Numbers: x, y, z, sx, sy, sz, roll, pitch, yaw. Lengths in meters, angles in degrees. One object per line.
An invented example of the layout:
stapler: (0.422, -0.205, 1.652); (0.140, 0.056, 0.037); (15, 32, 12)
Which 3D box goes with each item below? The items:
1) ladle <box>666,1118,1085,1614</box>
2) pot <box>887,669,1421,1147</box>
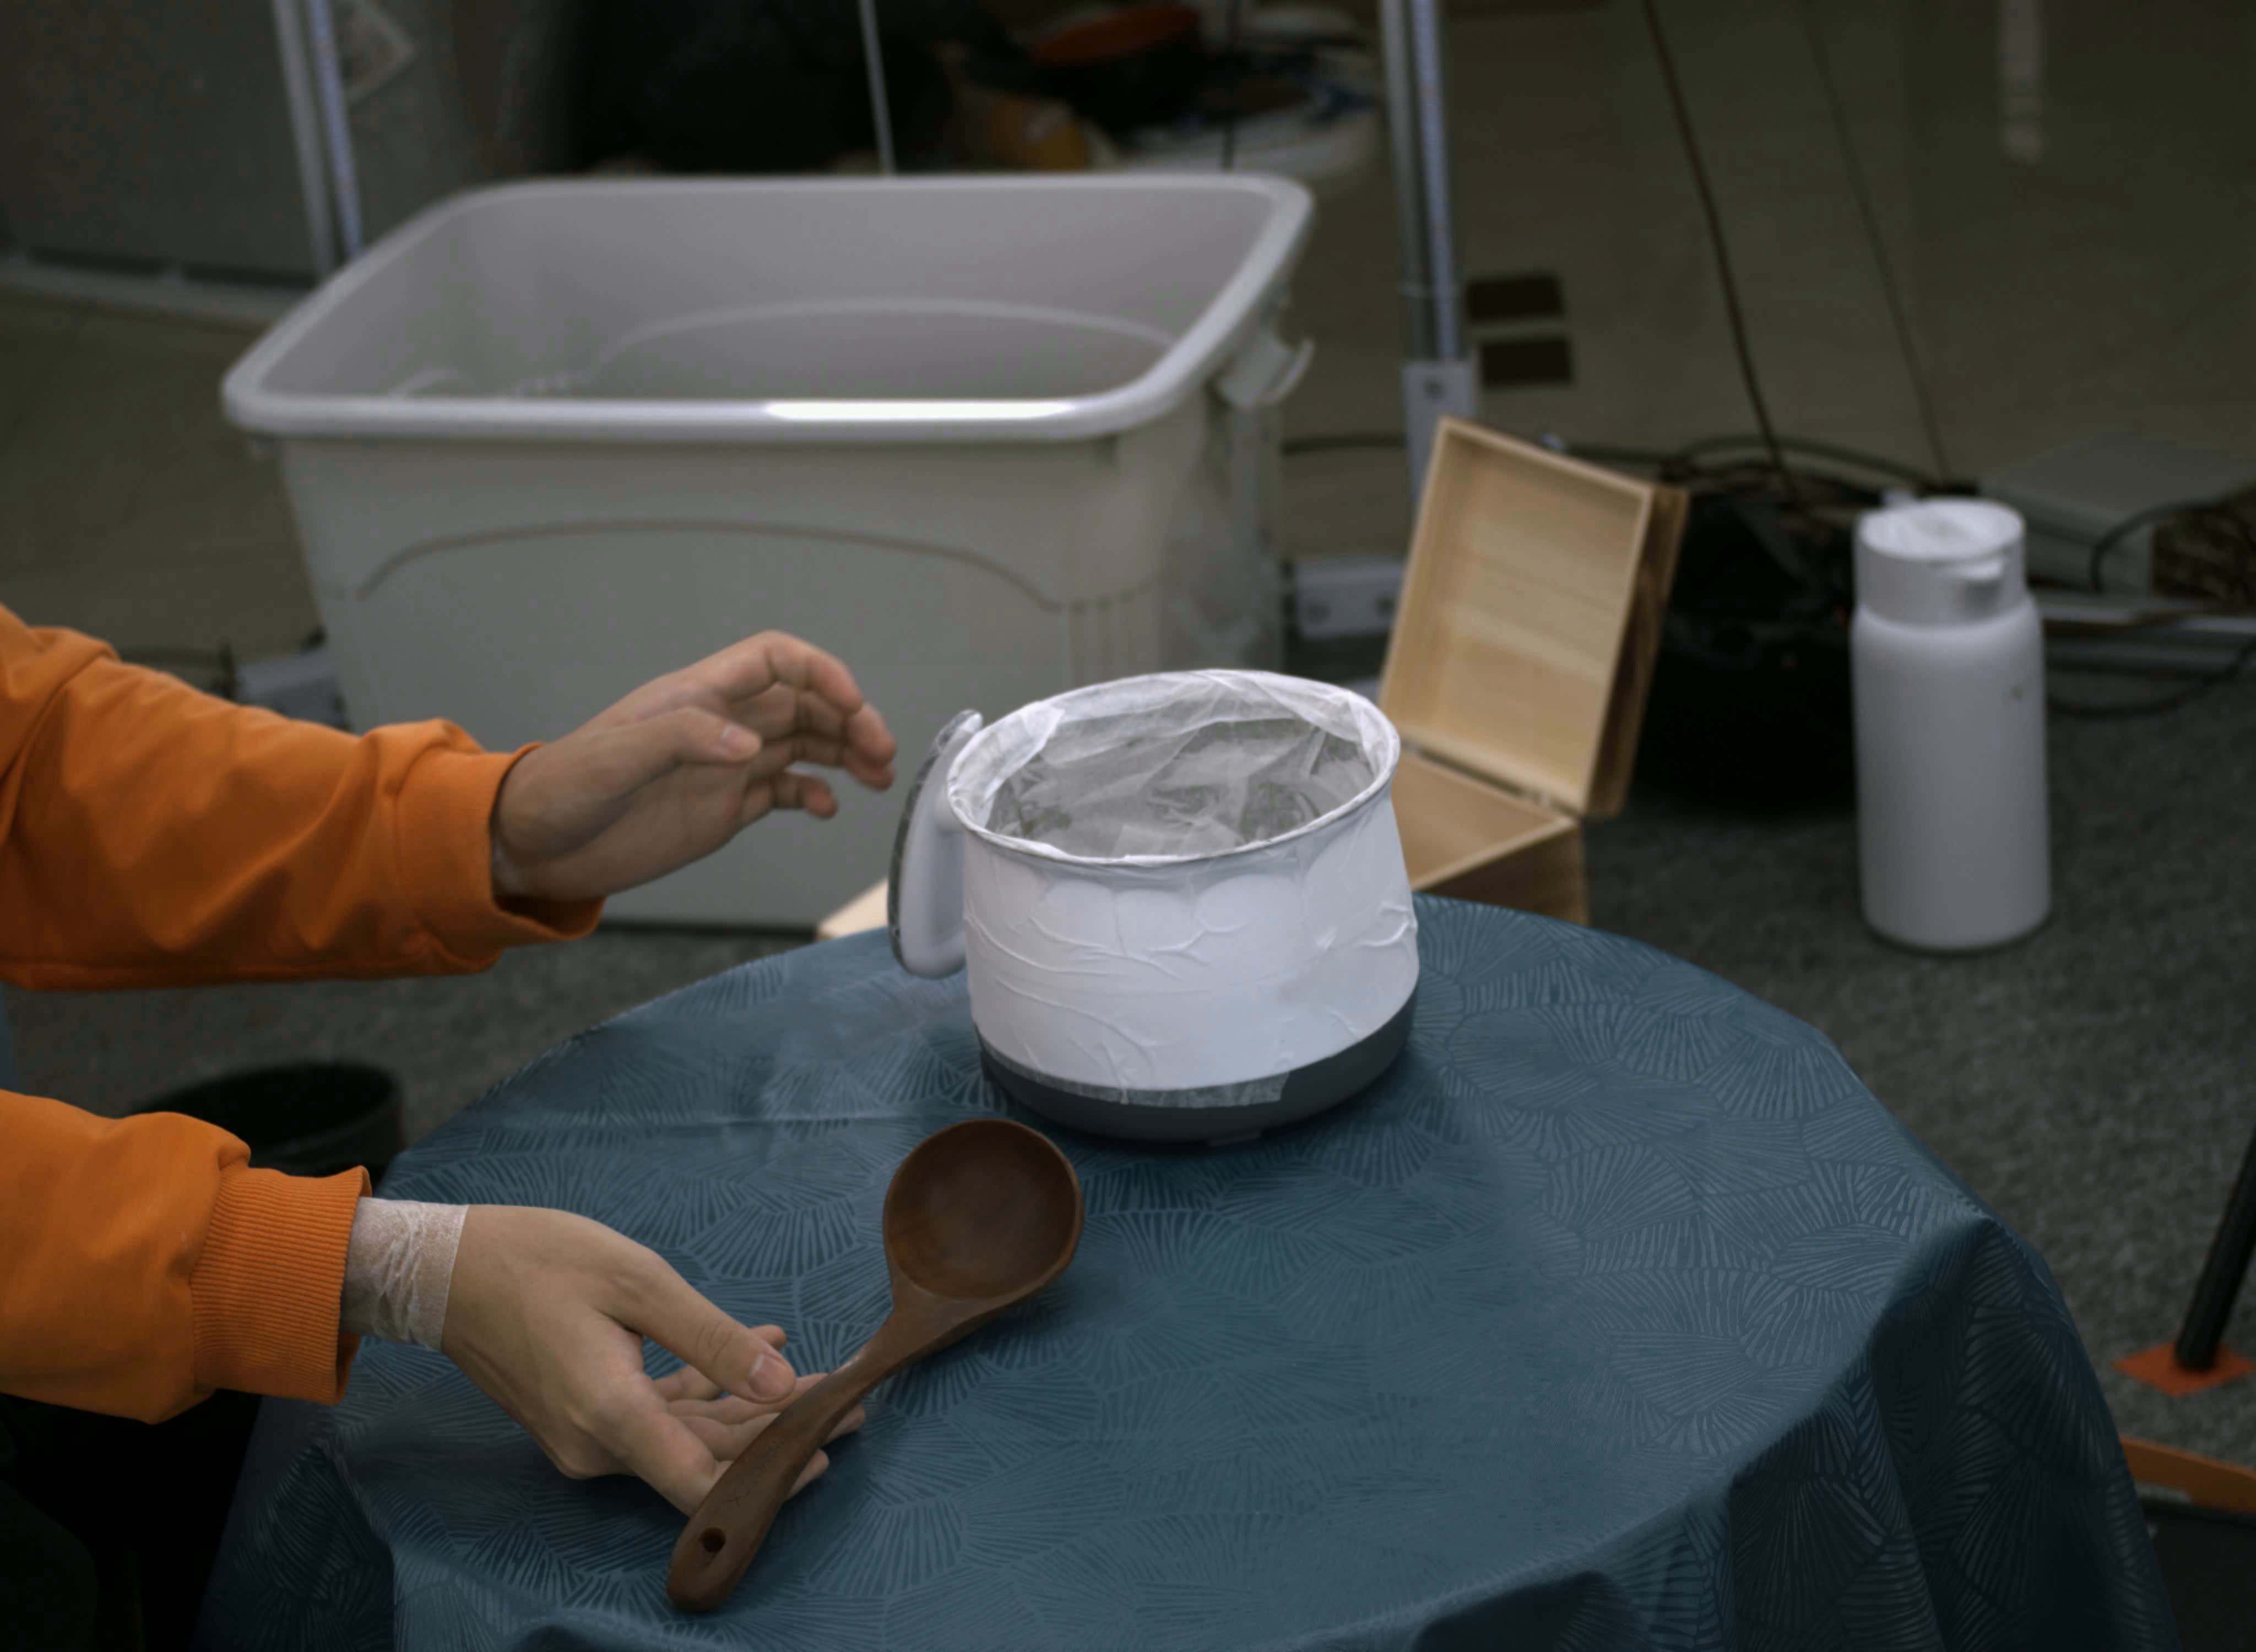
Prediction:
ladle: (-0.094, 0.185, 1.995); (0.076, 0.066, 0.257); (13, 30, 23)
pot: (0.001, 0.029, 2.219); (0.232, 0.139, 0.177); (11, 30, 33)
